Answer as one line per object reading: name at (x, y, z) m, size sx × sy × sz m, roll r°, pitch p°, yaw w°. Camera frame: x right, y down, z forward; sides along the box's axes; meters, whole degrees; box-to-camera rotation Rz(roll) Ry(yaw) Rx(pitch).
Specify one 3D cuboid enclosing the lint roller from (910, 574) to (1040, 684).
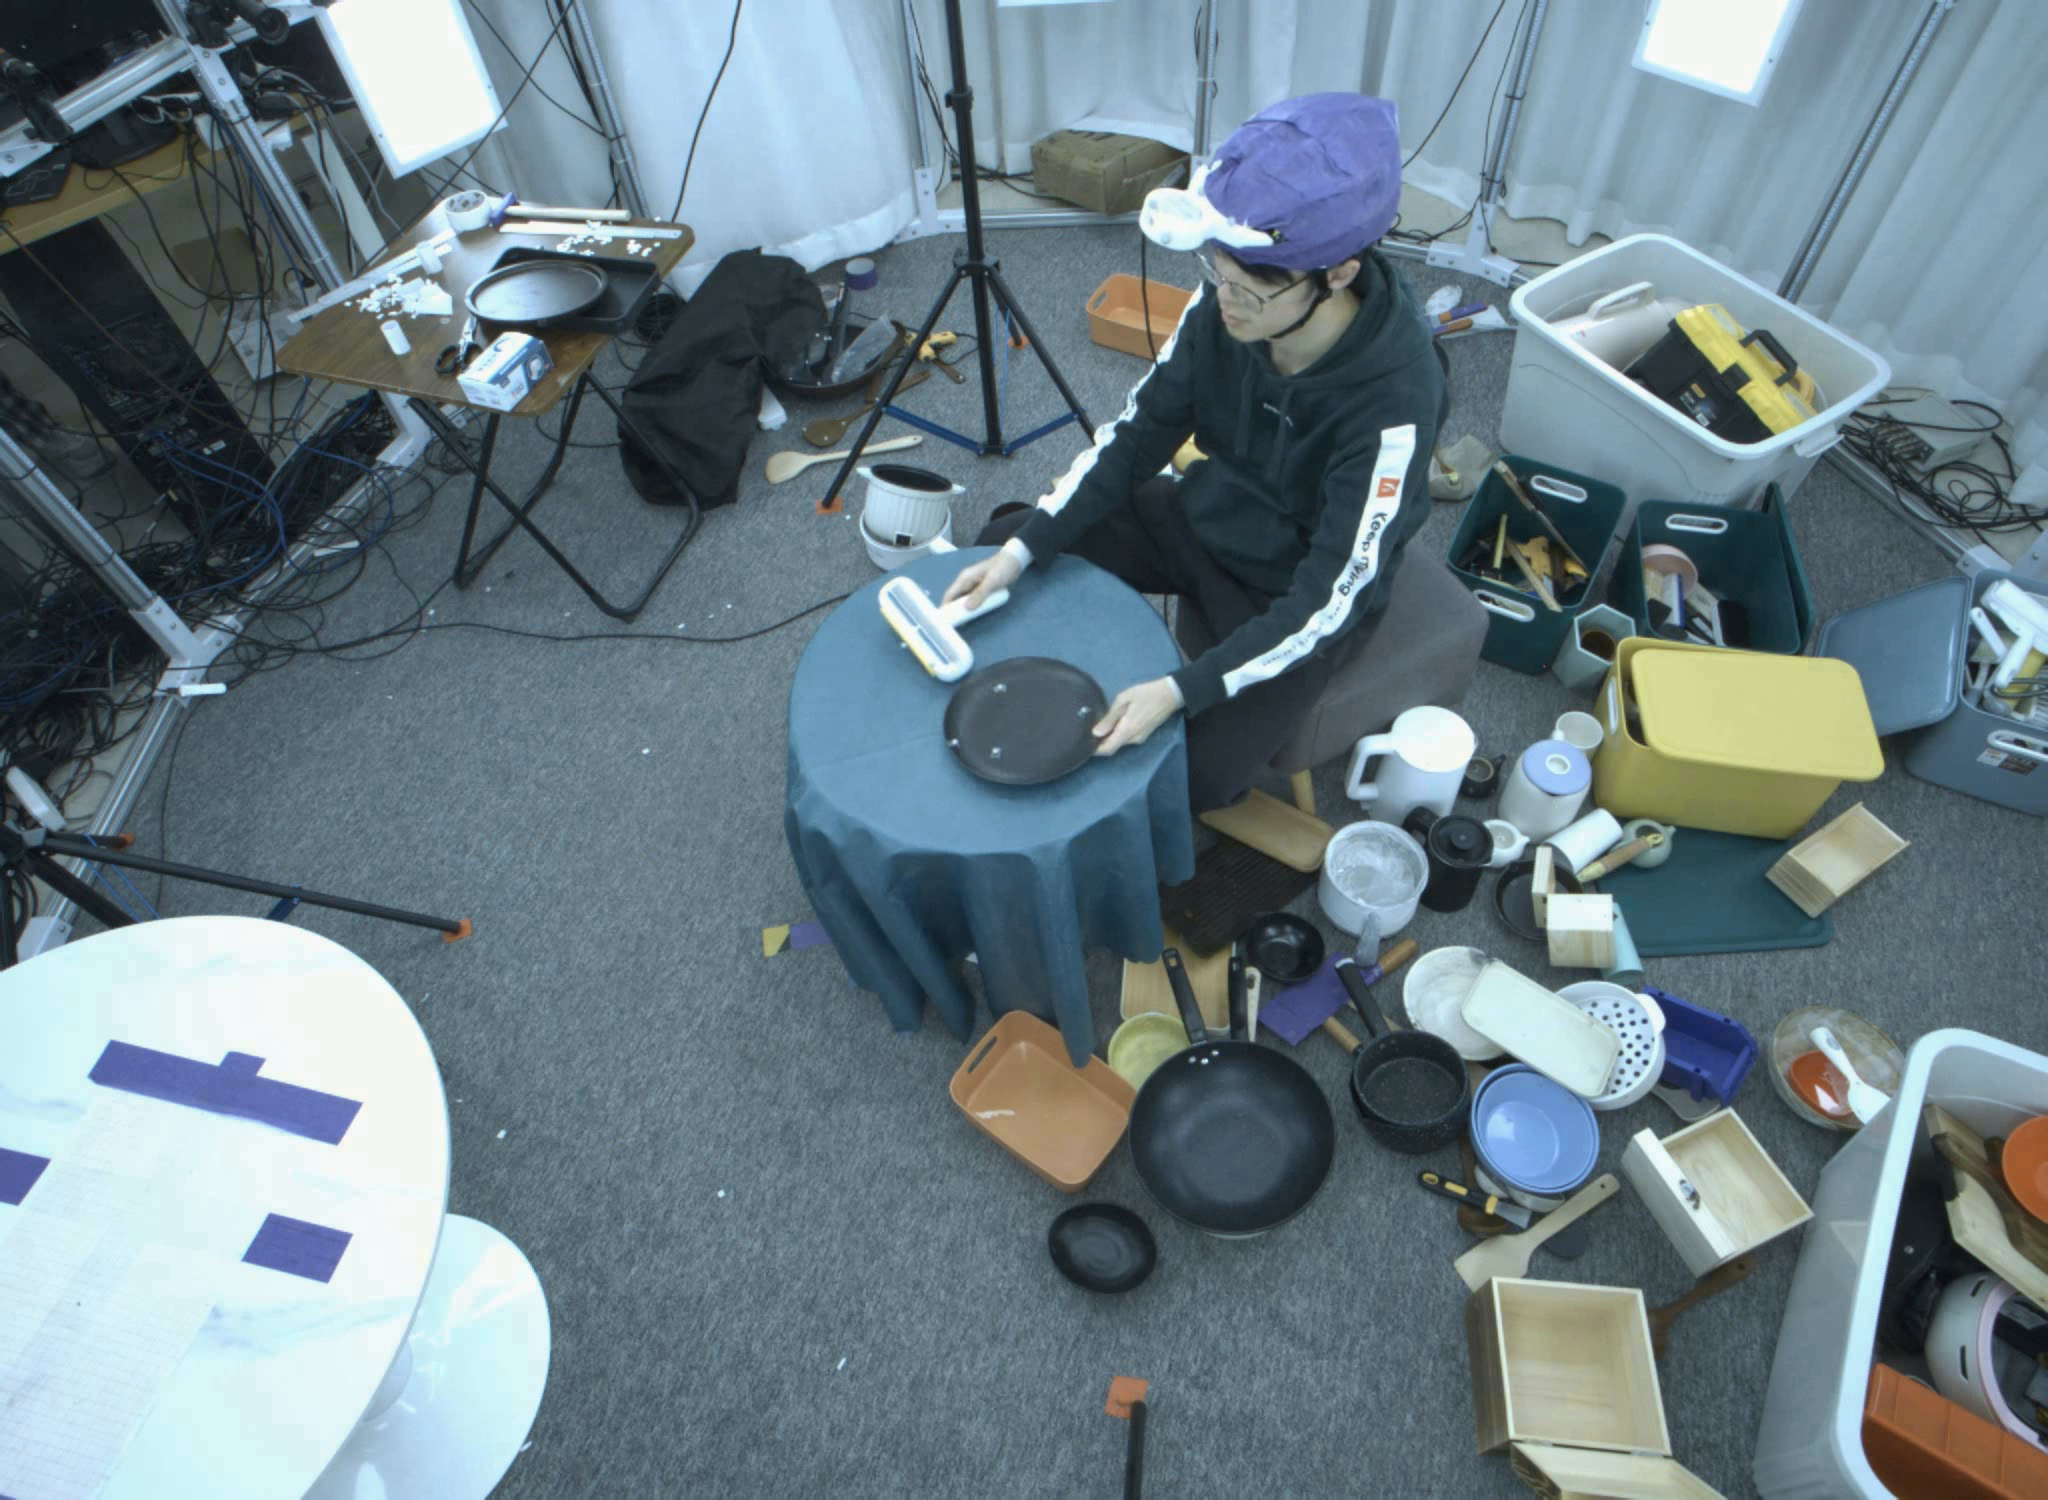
lint roller at (-0.059, -0.201, 1.902) m, size 0.195 × 0.074 × 0.190 m, roll -22°, pitch 64°, yaw -23°

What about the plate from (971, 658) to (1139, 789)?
plate at (0.045, -0.036, 1.785) m, size 0.244 × 0.024 × 0.242 m, roll -2°, pitch 52°, yaw 3°
